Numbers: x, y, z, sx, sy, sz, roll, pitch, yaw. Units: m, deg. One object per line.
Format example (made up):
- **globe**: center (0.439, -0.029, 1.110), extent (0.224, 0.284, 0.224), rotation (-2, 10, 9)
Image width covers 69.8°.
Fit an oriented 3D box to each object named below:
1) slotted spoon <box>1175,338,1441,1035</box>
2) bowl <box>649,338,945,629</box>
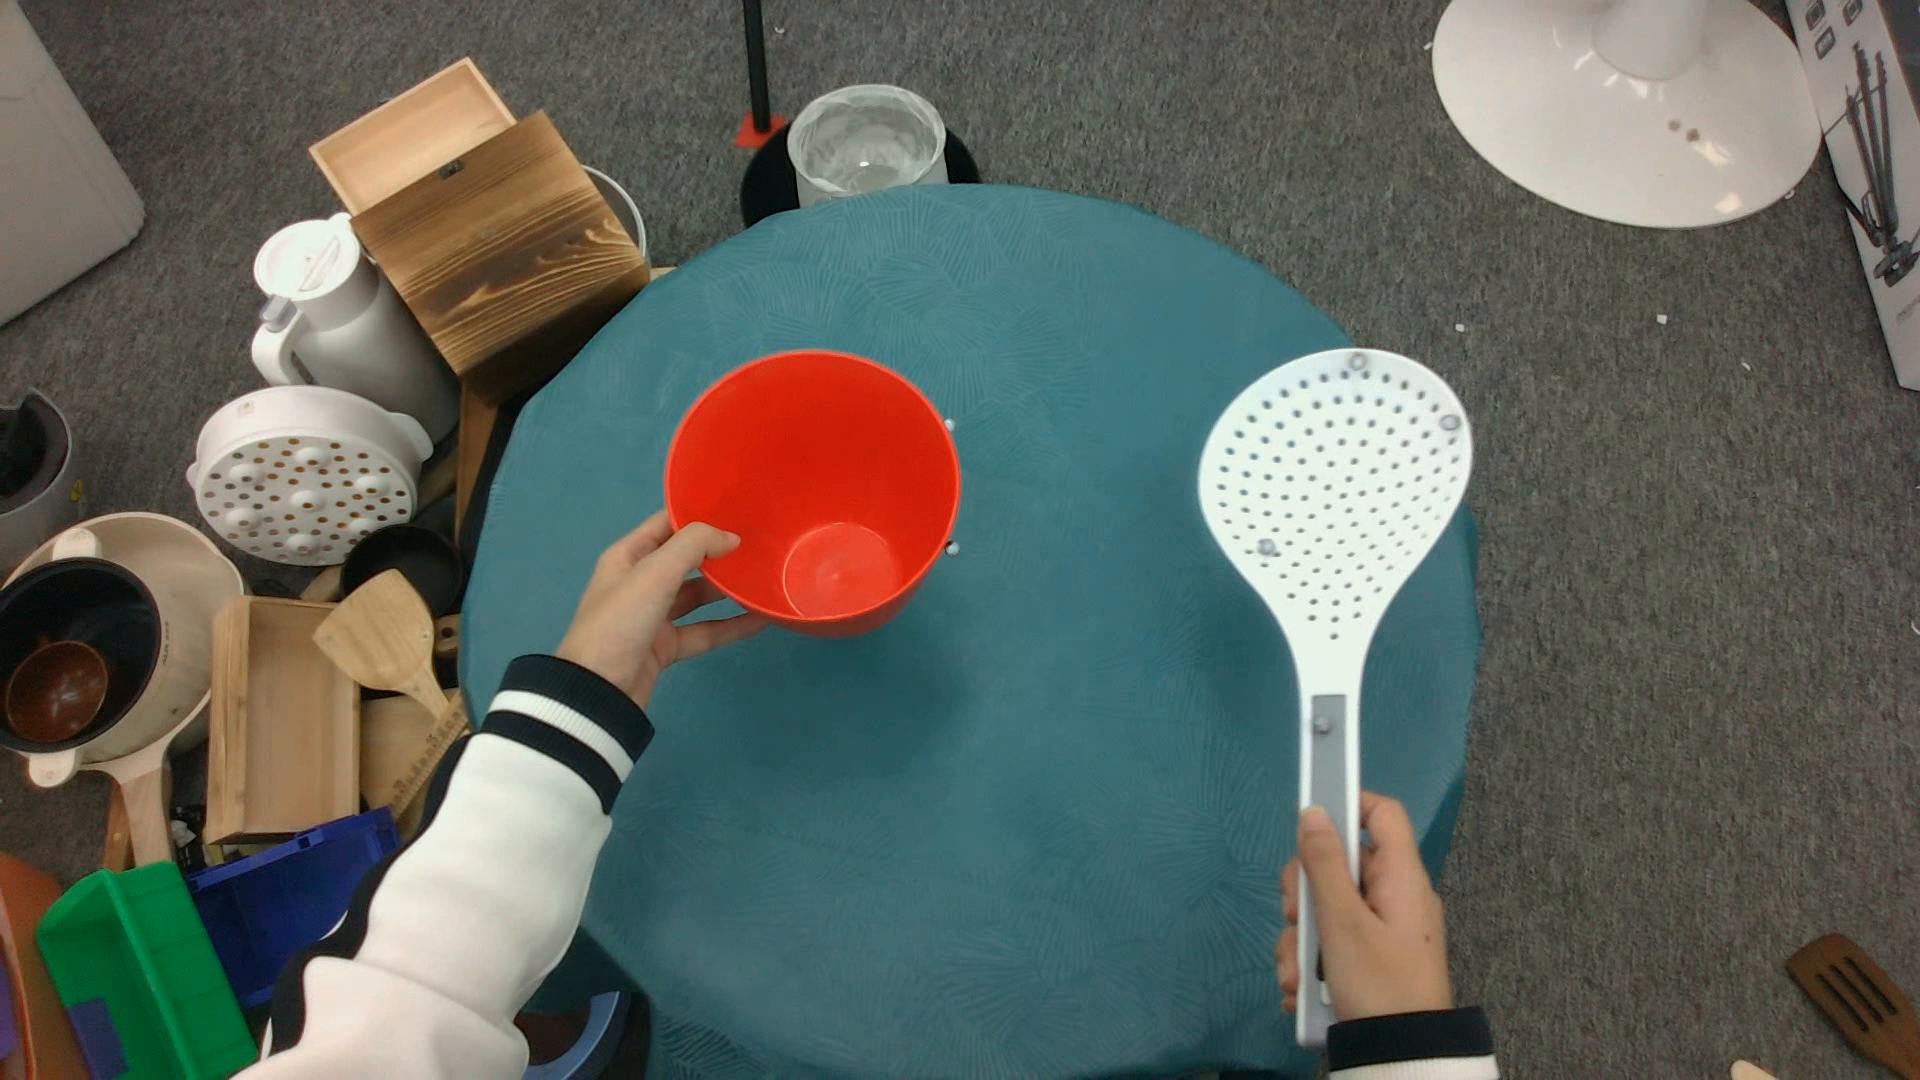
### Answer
- **slotted spoon**: center (0.169, 0.056, 0.670), extent (0.136, 0.045, 0.351), rotation (-5, 58, 23)
- **bowl**: center (-0.082, -0.017, 0.727), extent (0.148, 0.104, 0.148), rotation (1, 60, -2)
